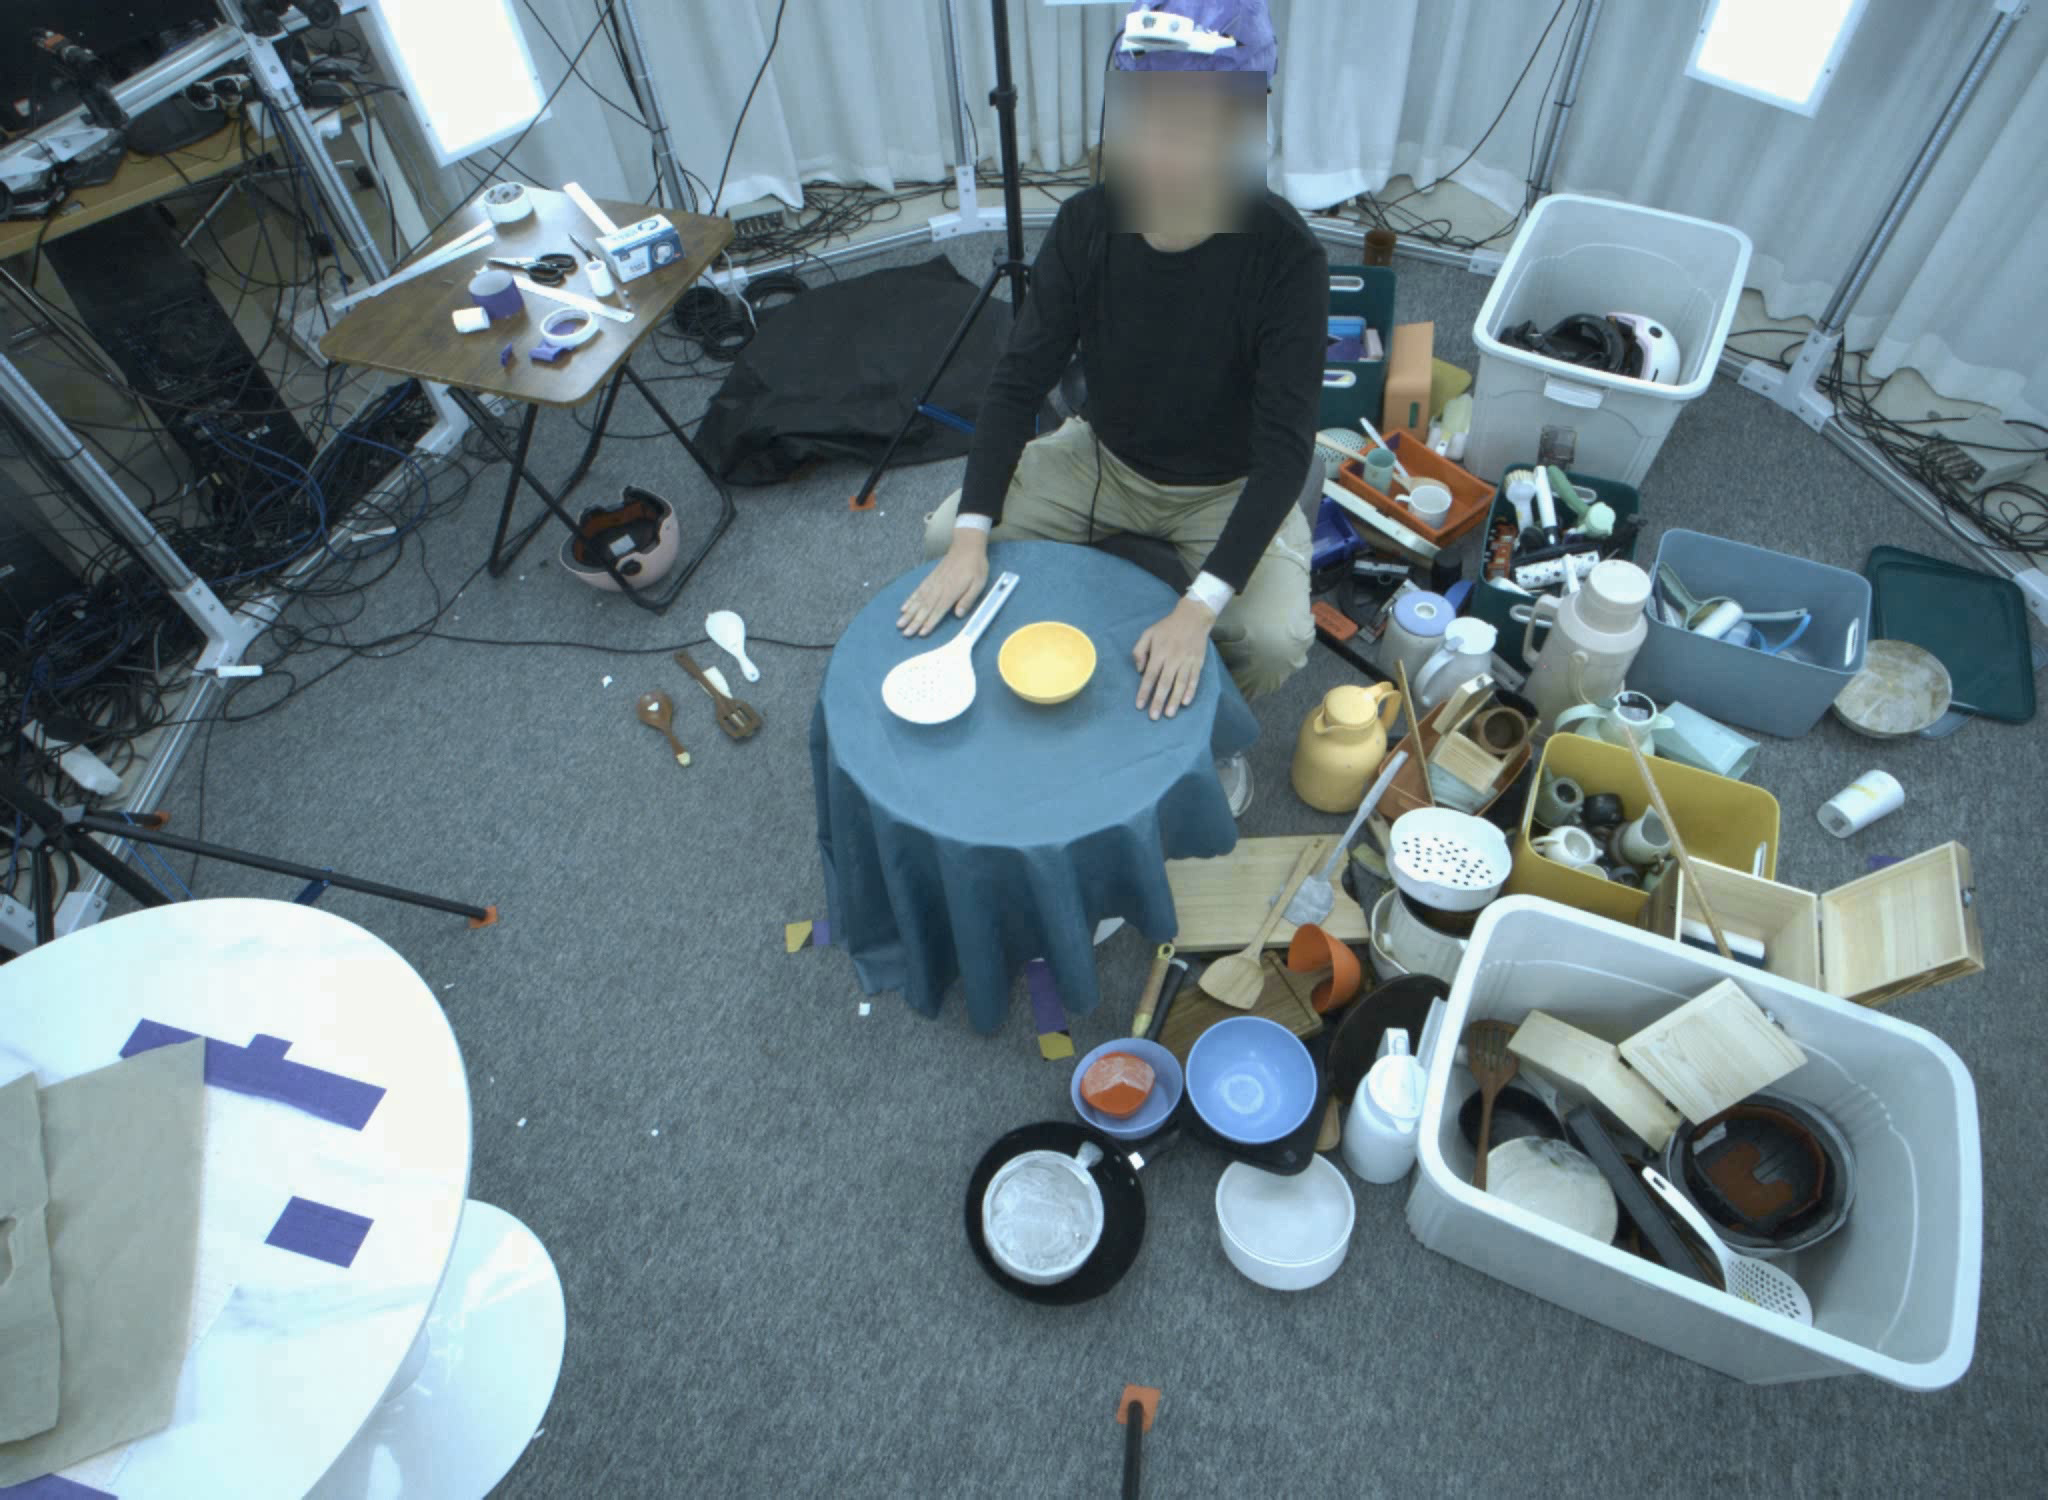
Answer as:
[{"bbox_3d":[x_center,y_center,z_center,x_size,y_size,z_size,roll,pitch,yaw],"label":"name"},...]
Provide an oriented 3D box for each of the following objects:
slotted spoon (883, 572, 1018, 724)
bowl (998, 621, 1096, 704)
[{"bbox_3d":[-0.095,-0.161,1.876,0.134,0.046,0.350,20,57,15],"label":"slotted spoon"},{"bbox_3d":[0.035,-0.119,1.836,0.145,0.061,0.144,0,57,1],"label":"bowl"}]
